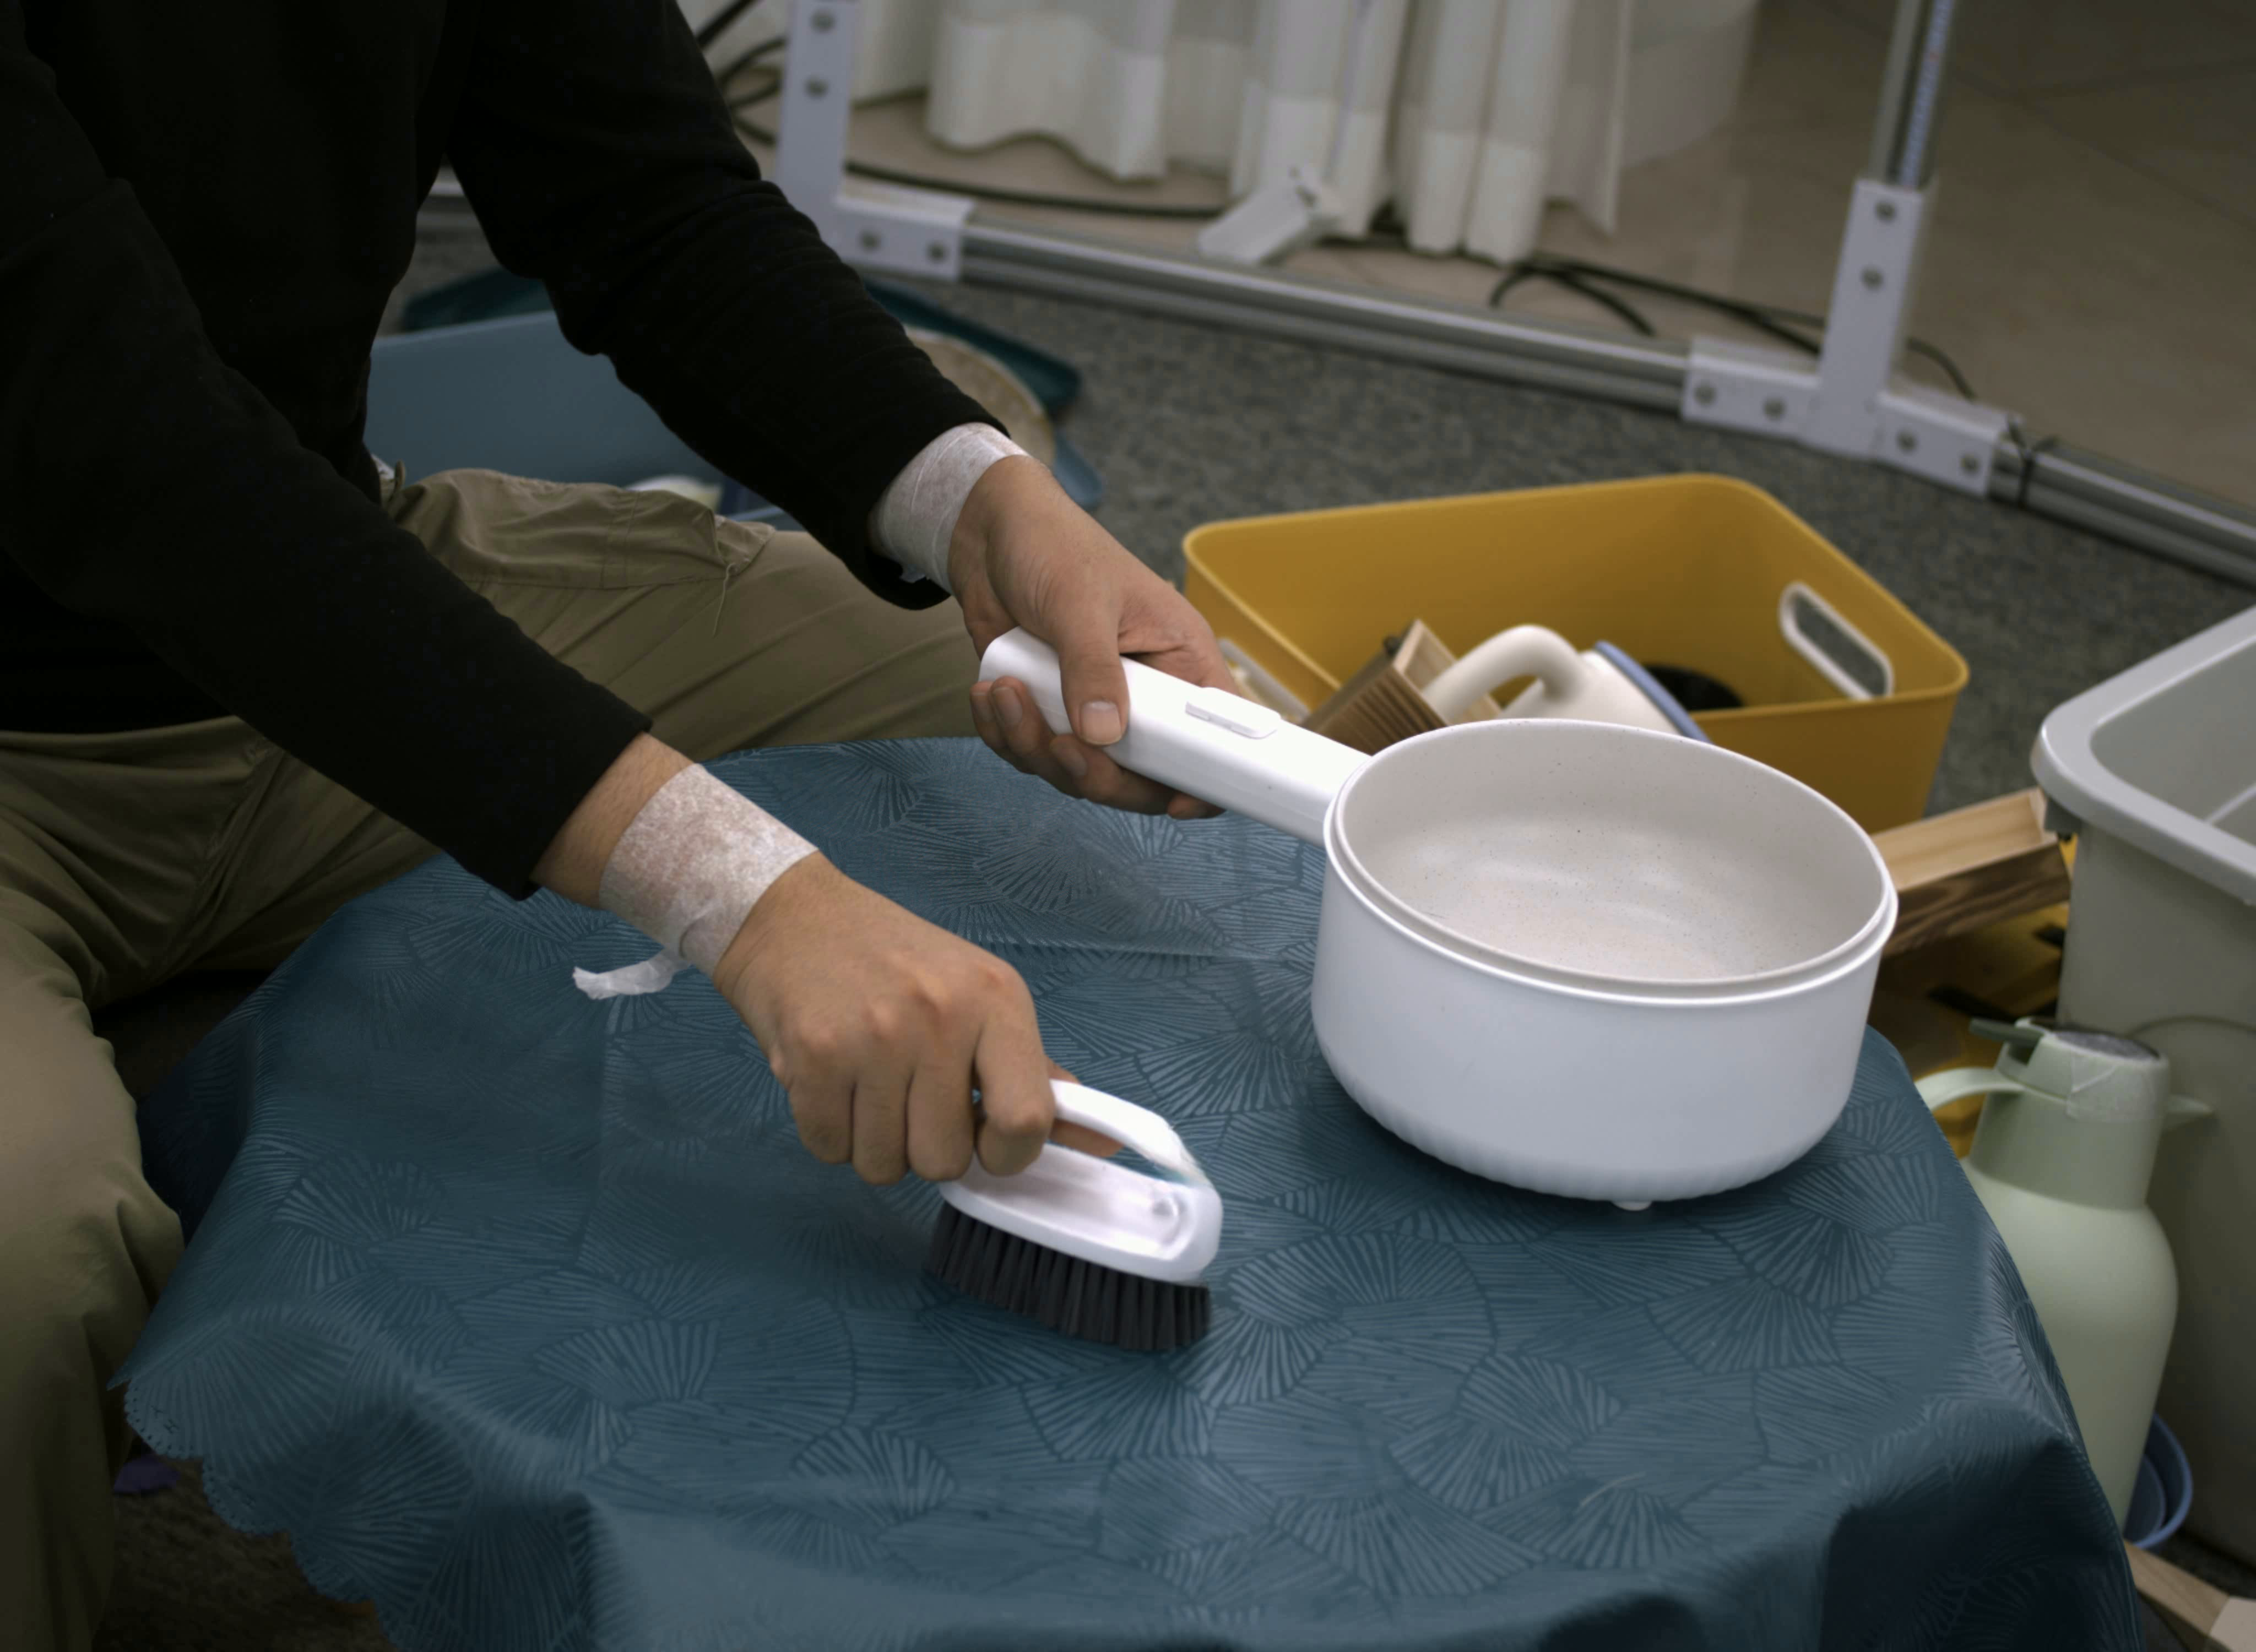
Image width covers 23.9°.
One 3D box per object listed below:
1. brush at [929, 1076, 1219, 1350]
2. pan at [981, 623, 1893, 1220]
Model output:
[{"bbox_3d":[-0.017,0.119,1.726,0.099,0.072,0.050,19,32,23],"label":"brush"},{"bbox_3d":[0.099,0.028,1.907,0.356,0.102,0.201,21,32,27],"label":"pan"}]
